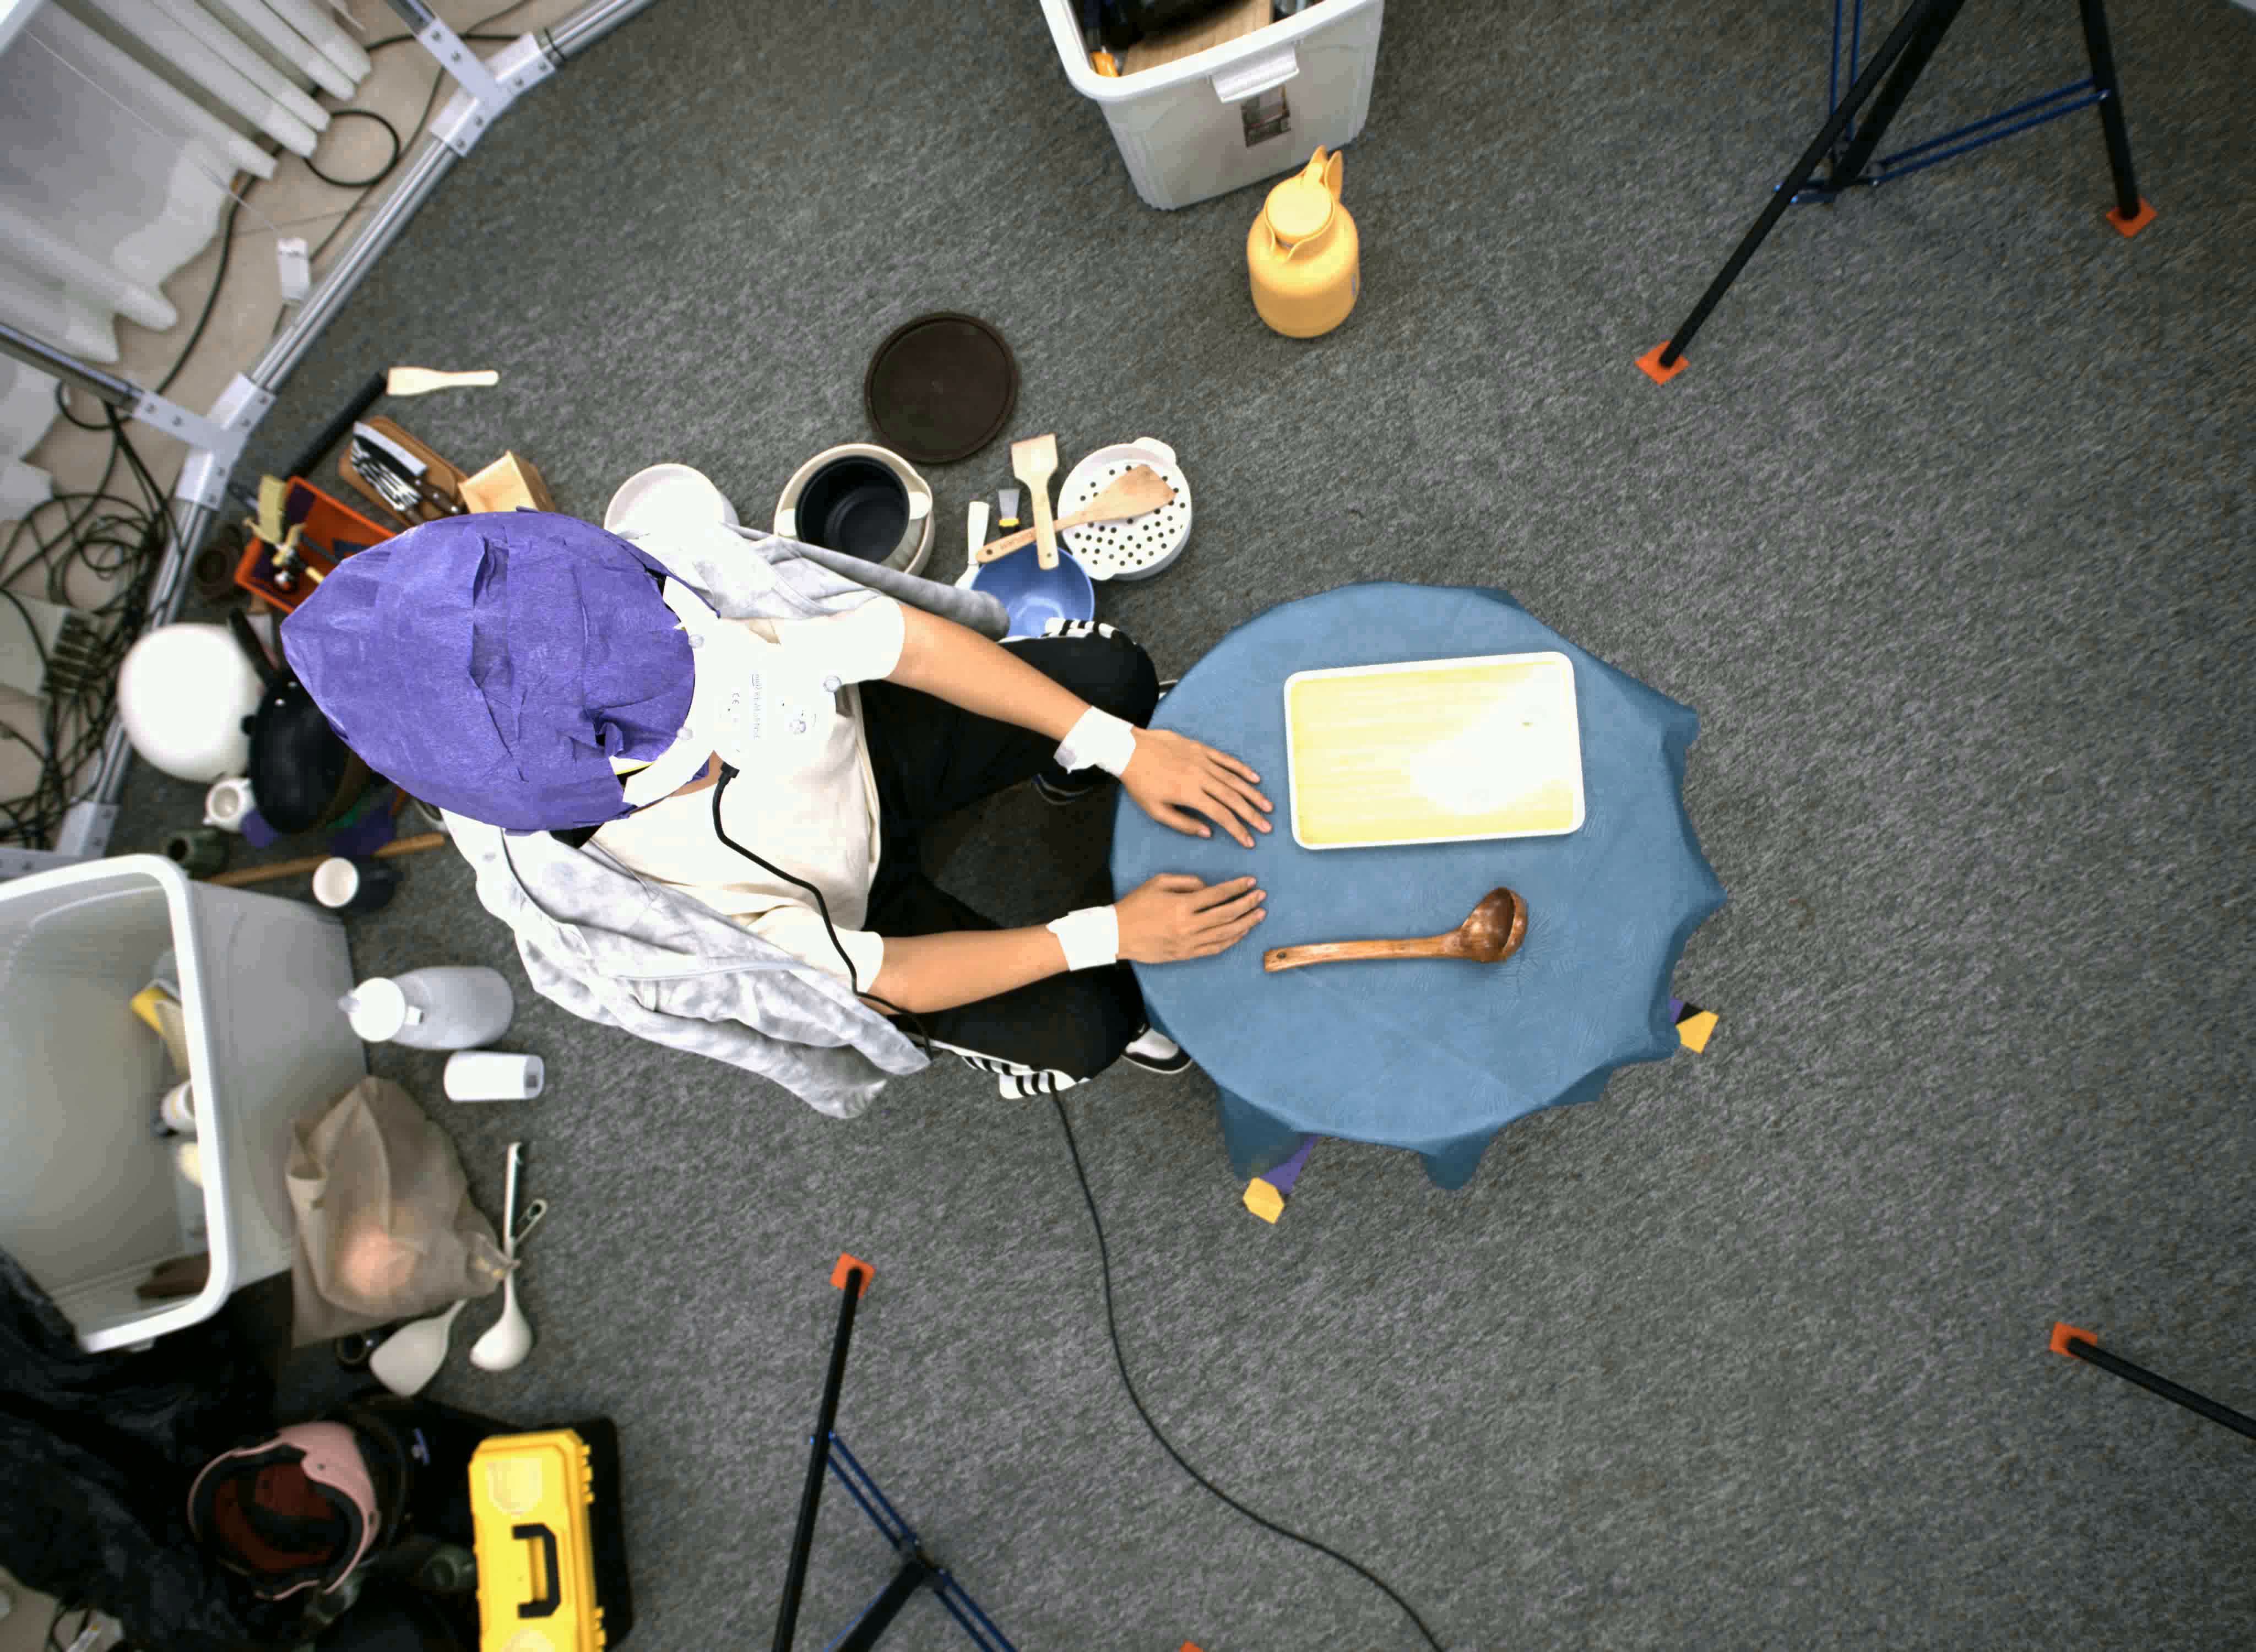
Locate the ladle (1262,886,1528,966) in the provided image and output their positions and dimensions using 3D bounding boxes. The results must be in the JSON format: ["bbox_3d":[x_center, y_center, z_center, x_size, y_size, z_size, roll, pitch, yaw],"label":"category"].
[{"bbox_3d":[0.271,0.109,1.420,0.275,0.078,0.079,-4,46,11],"label":"ladle"}]

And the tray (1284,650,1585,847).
[{"bbox_3d":[0.318,-0.081,1.443,0.301,0.027,0.191,-3,86,11],"label":"tray"}]
